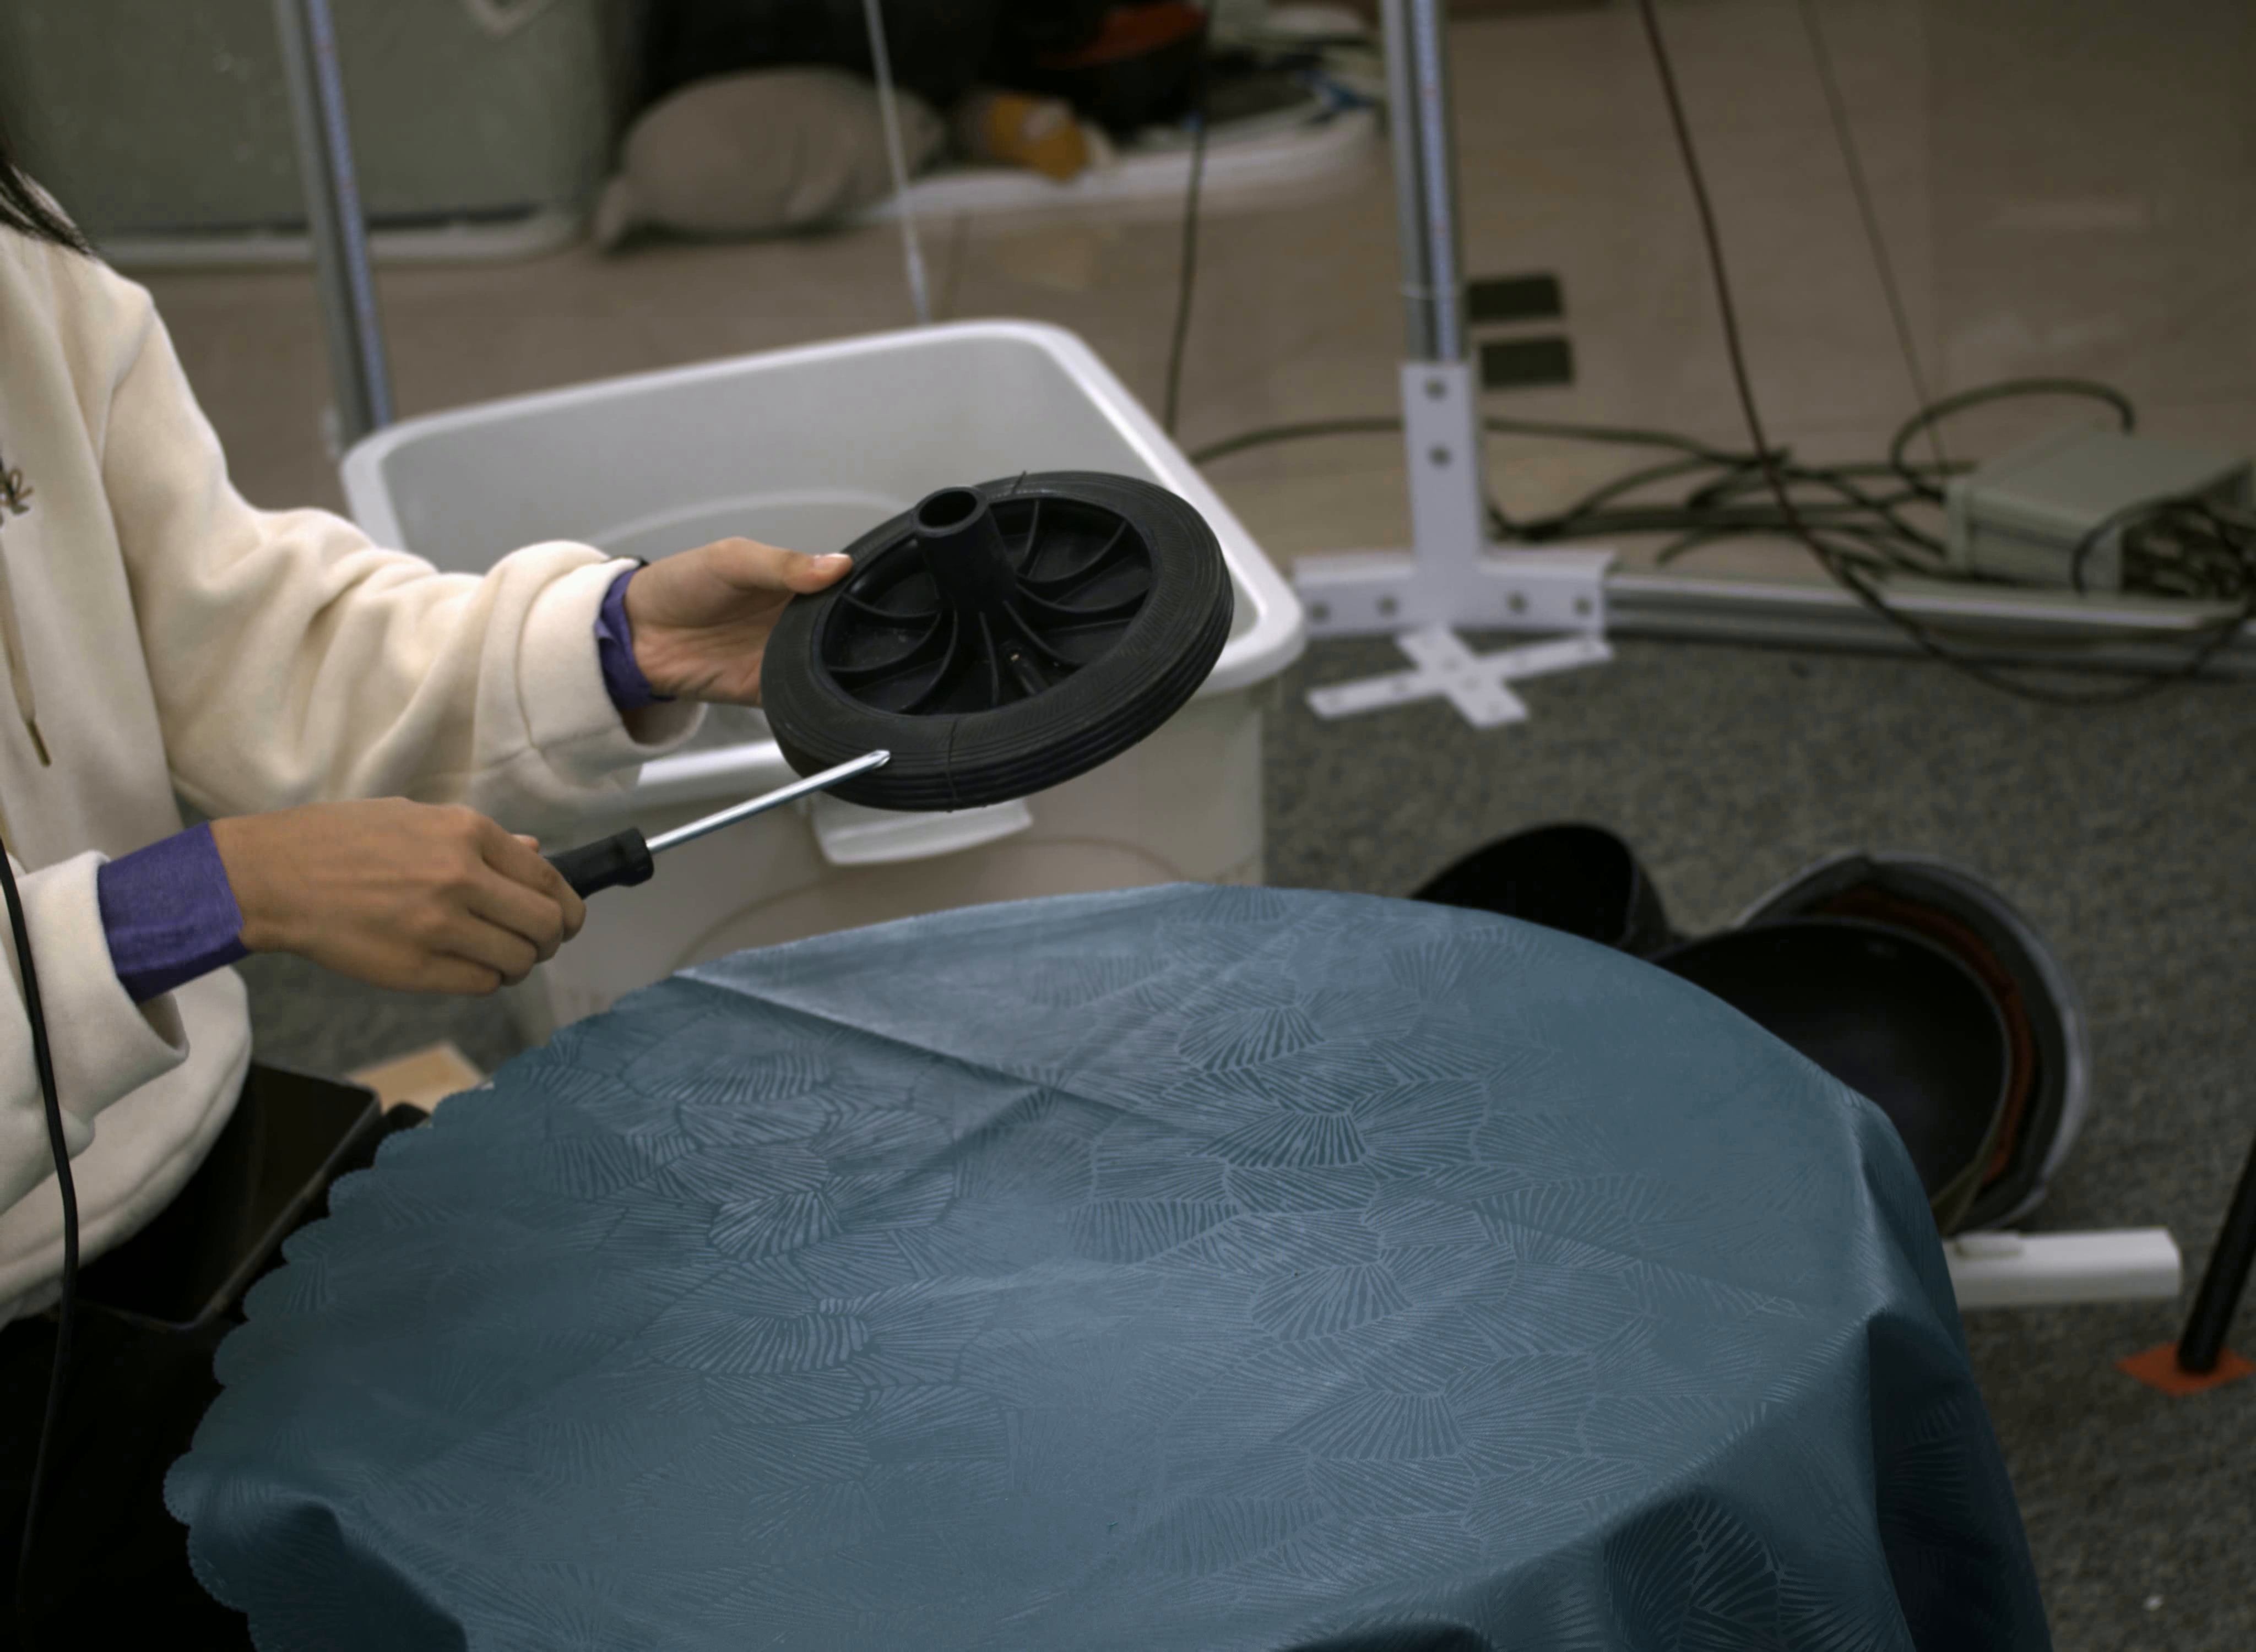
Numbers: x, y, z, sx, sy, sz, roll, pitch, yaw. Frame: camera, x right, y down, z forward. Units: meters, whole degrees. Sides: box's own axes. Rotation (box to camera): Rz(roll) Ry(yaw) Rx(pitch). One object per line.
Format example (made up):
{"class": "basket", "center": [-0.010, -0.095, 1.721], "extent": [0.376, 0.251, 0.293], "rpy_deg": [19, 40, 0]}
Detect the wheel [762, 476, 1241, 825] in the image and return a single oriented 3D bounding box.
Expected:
{"class": "wheel", "center": [-0.055, -0.086, 2.173], "extent": [0.188, 0.080, 0.185], "rpy_deg": [25, 57, 40]}

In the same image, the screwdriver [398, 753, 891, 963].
{"class": "screwdriver", "center": [-0.179, 0.004, 2.100], "extent": [0.195, 0.032, 0.031], "rpy_deg": [-24, 29, -13]}
